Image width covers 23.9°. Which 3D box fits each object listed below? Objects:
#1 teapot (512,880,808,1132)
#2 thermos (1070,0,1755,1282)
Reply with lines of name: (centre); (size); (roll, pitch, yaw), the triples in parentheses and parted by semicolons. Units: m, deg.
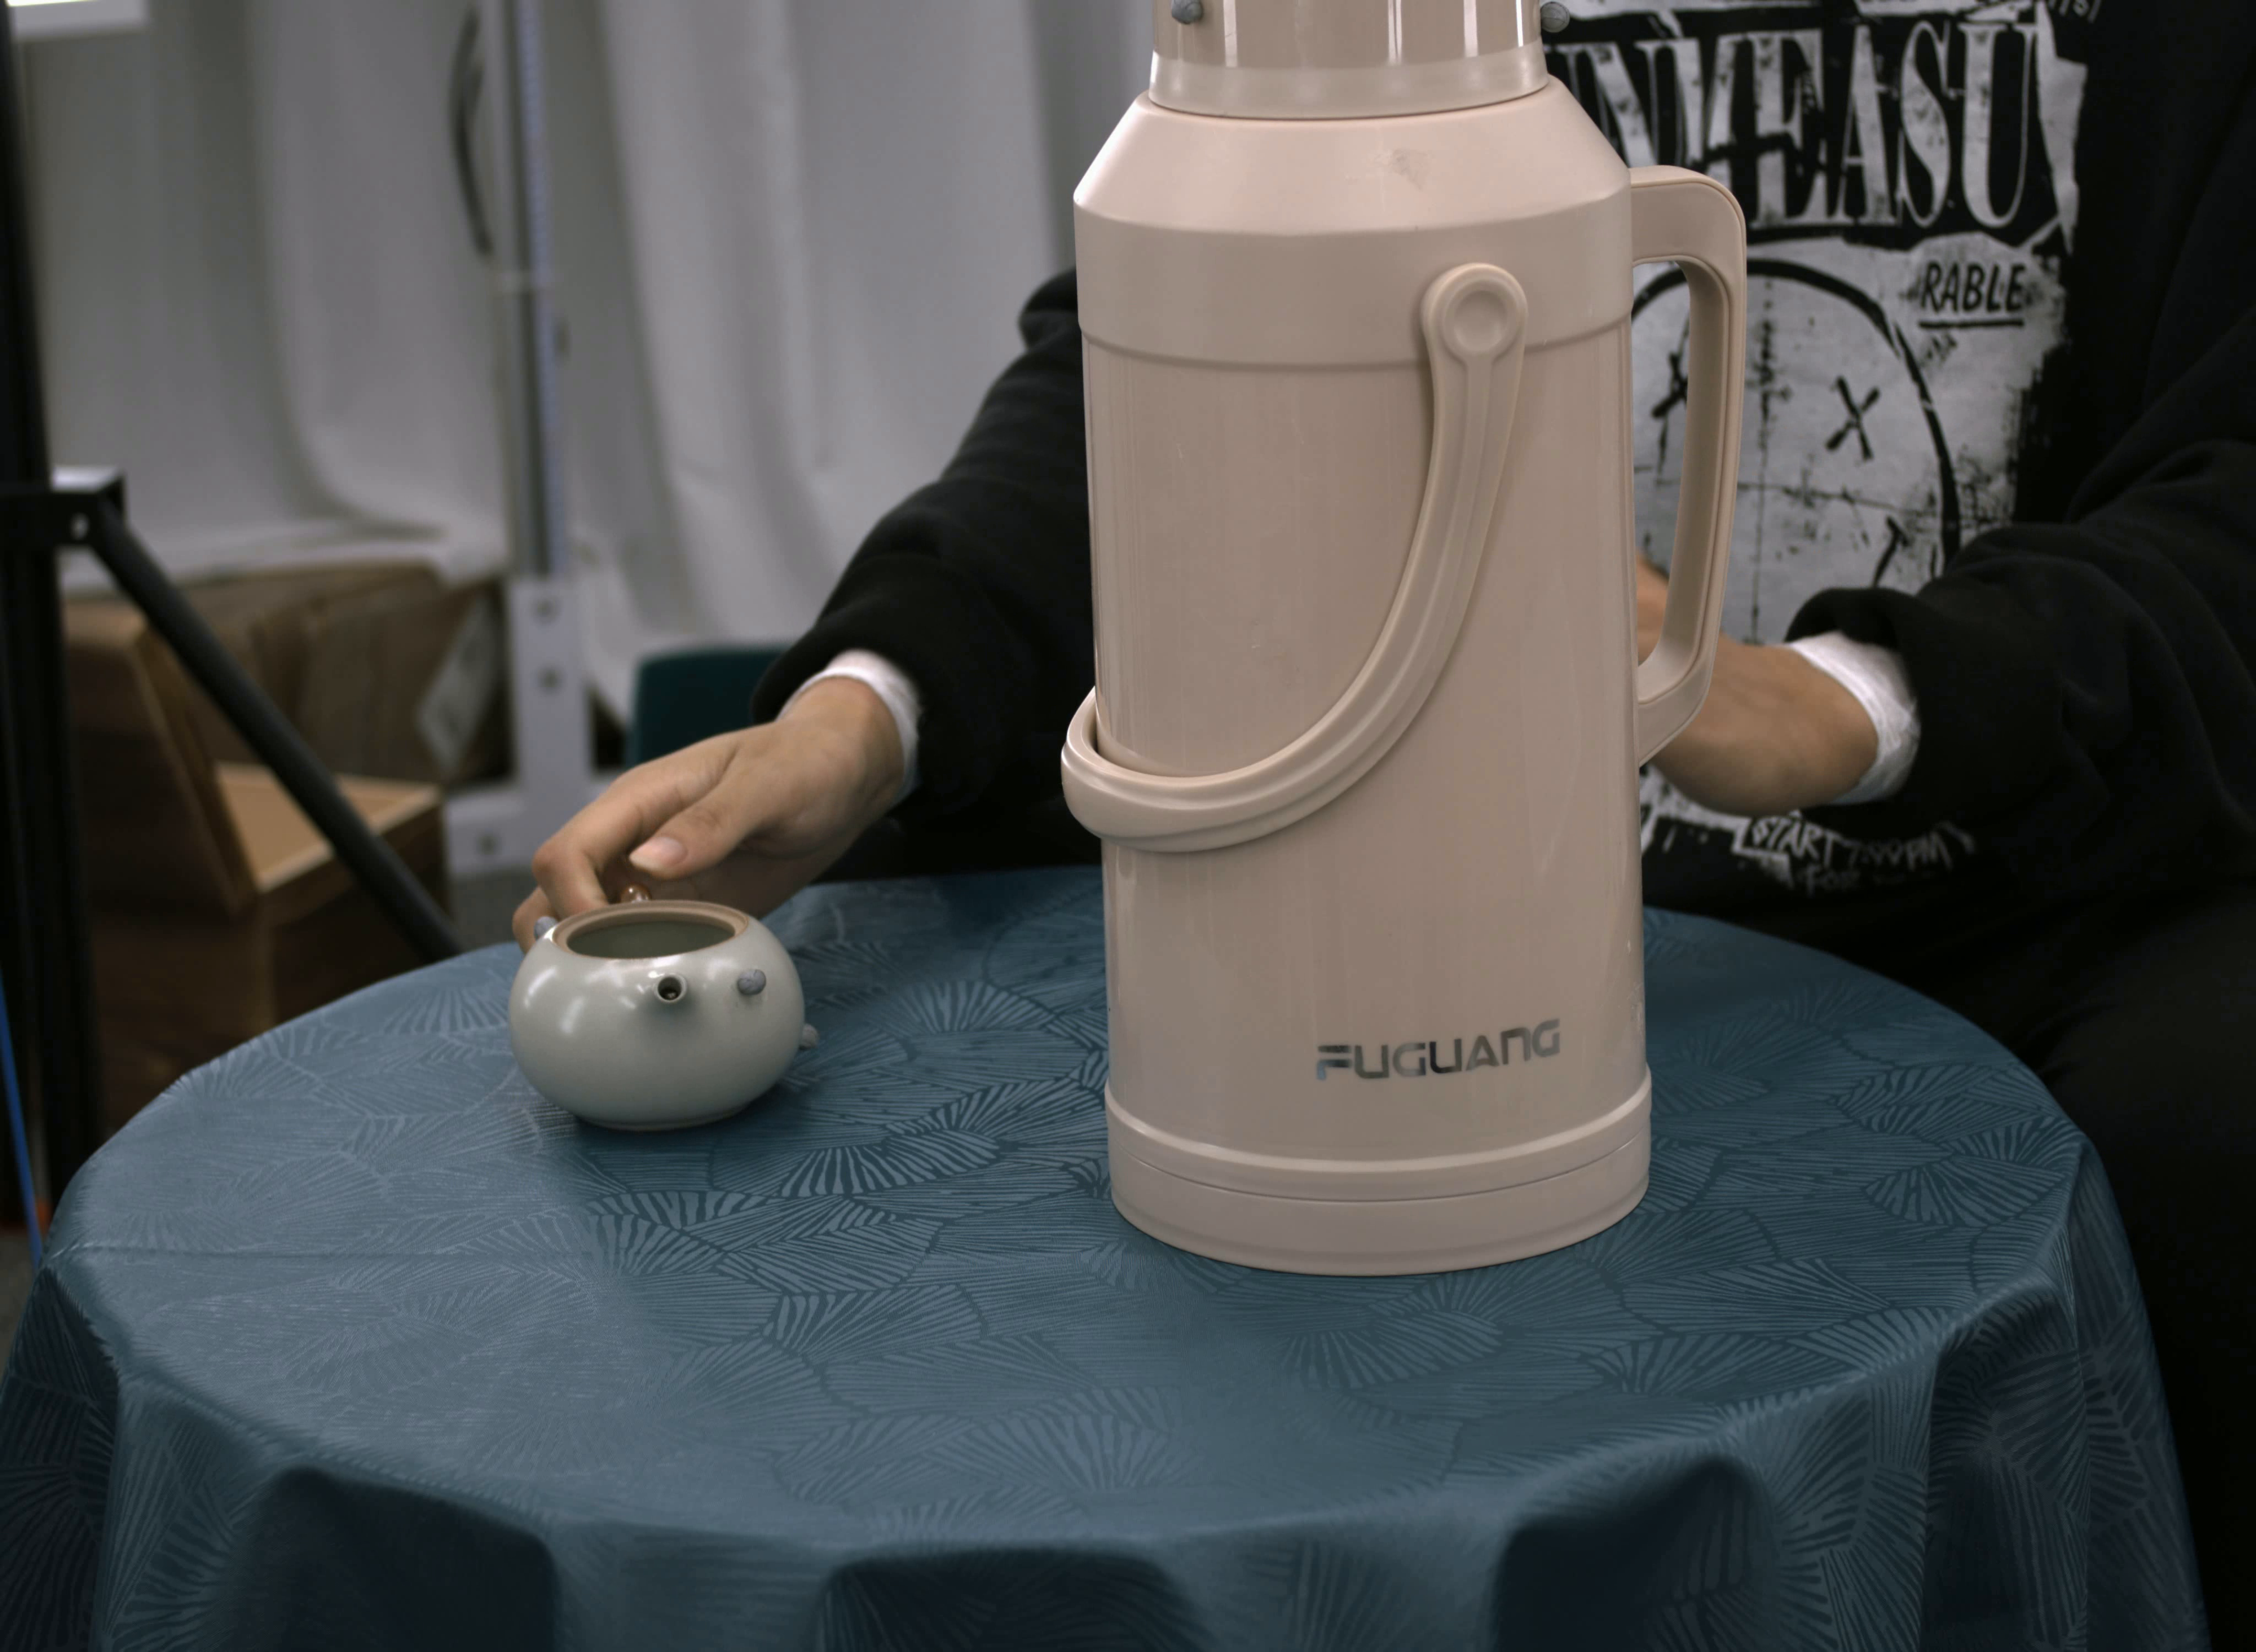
teapot: (-0.147, 0.055, 1.658); (0.091, 0.059, 0.130); (-8, 18, -10)
thermos: (0.082, -0.087, 1.504); (0.203, 0.406, 0.178); (-8, 14, -19)
